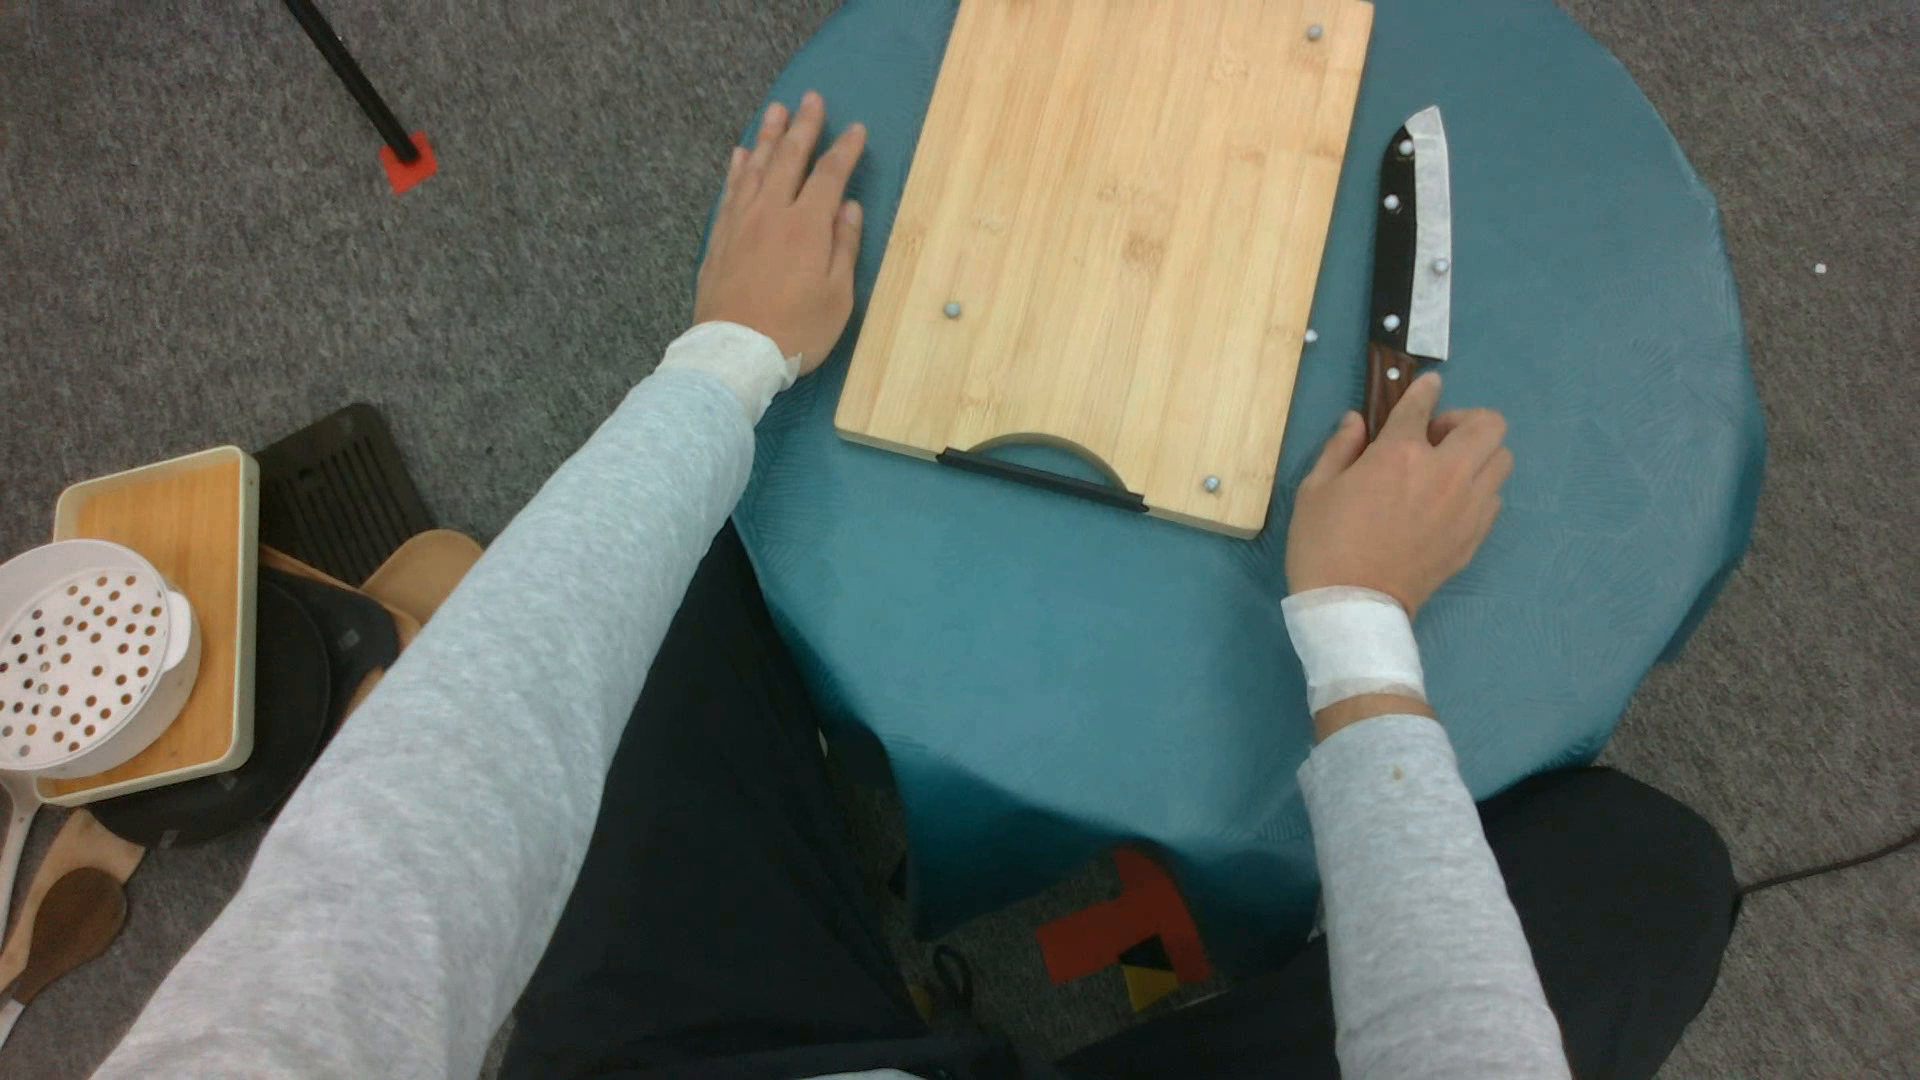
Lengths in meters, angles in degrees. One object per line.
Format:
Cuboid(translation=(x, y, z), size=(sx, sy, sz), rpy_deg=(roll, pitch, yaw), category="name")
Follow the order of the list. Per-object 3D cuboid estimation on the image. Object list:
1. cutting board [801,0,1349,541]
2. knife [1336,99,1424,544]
Cuboid(translation=(0.074, -0.189, 0.795), size=(0.250, 0.023, 0.349), rpy_deg=(13, 73, 3), category="cutting board")
Cuboid(translation=(0.239, -0.132, 0.782), size=(0.050, 0.020, 0.290), rpy_deg=(11, 71, -1), category="knife")
